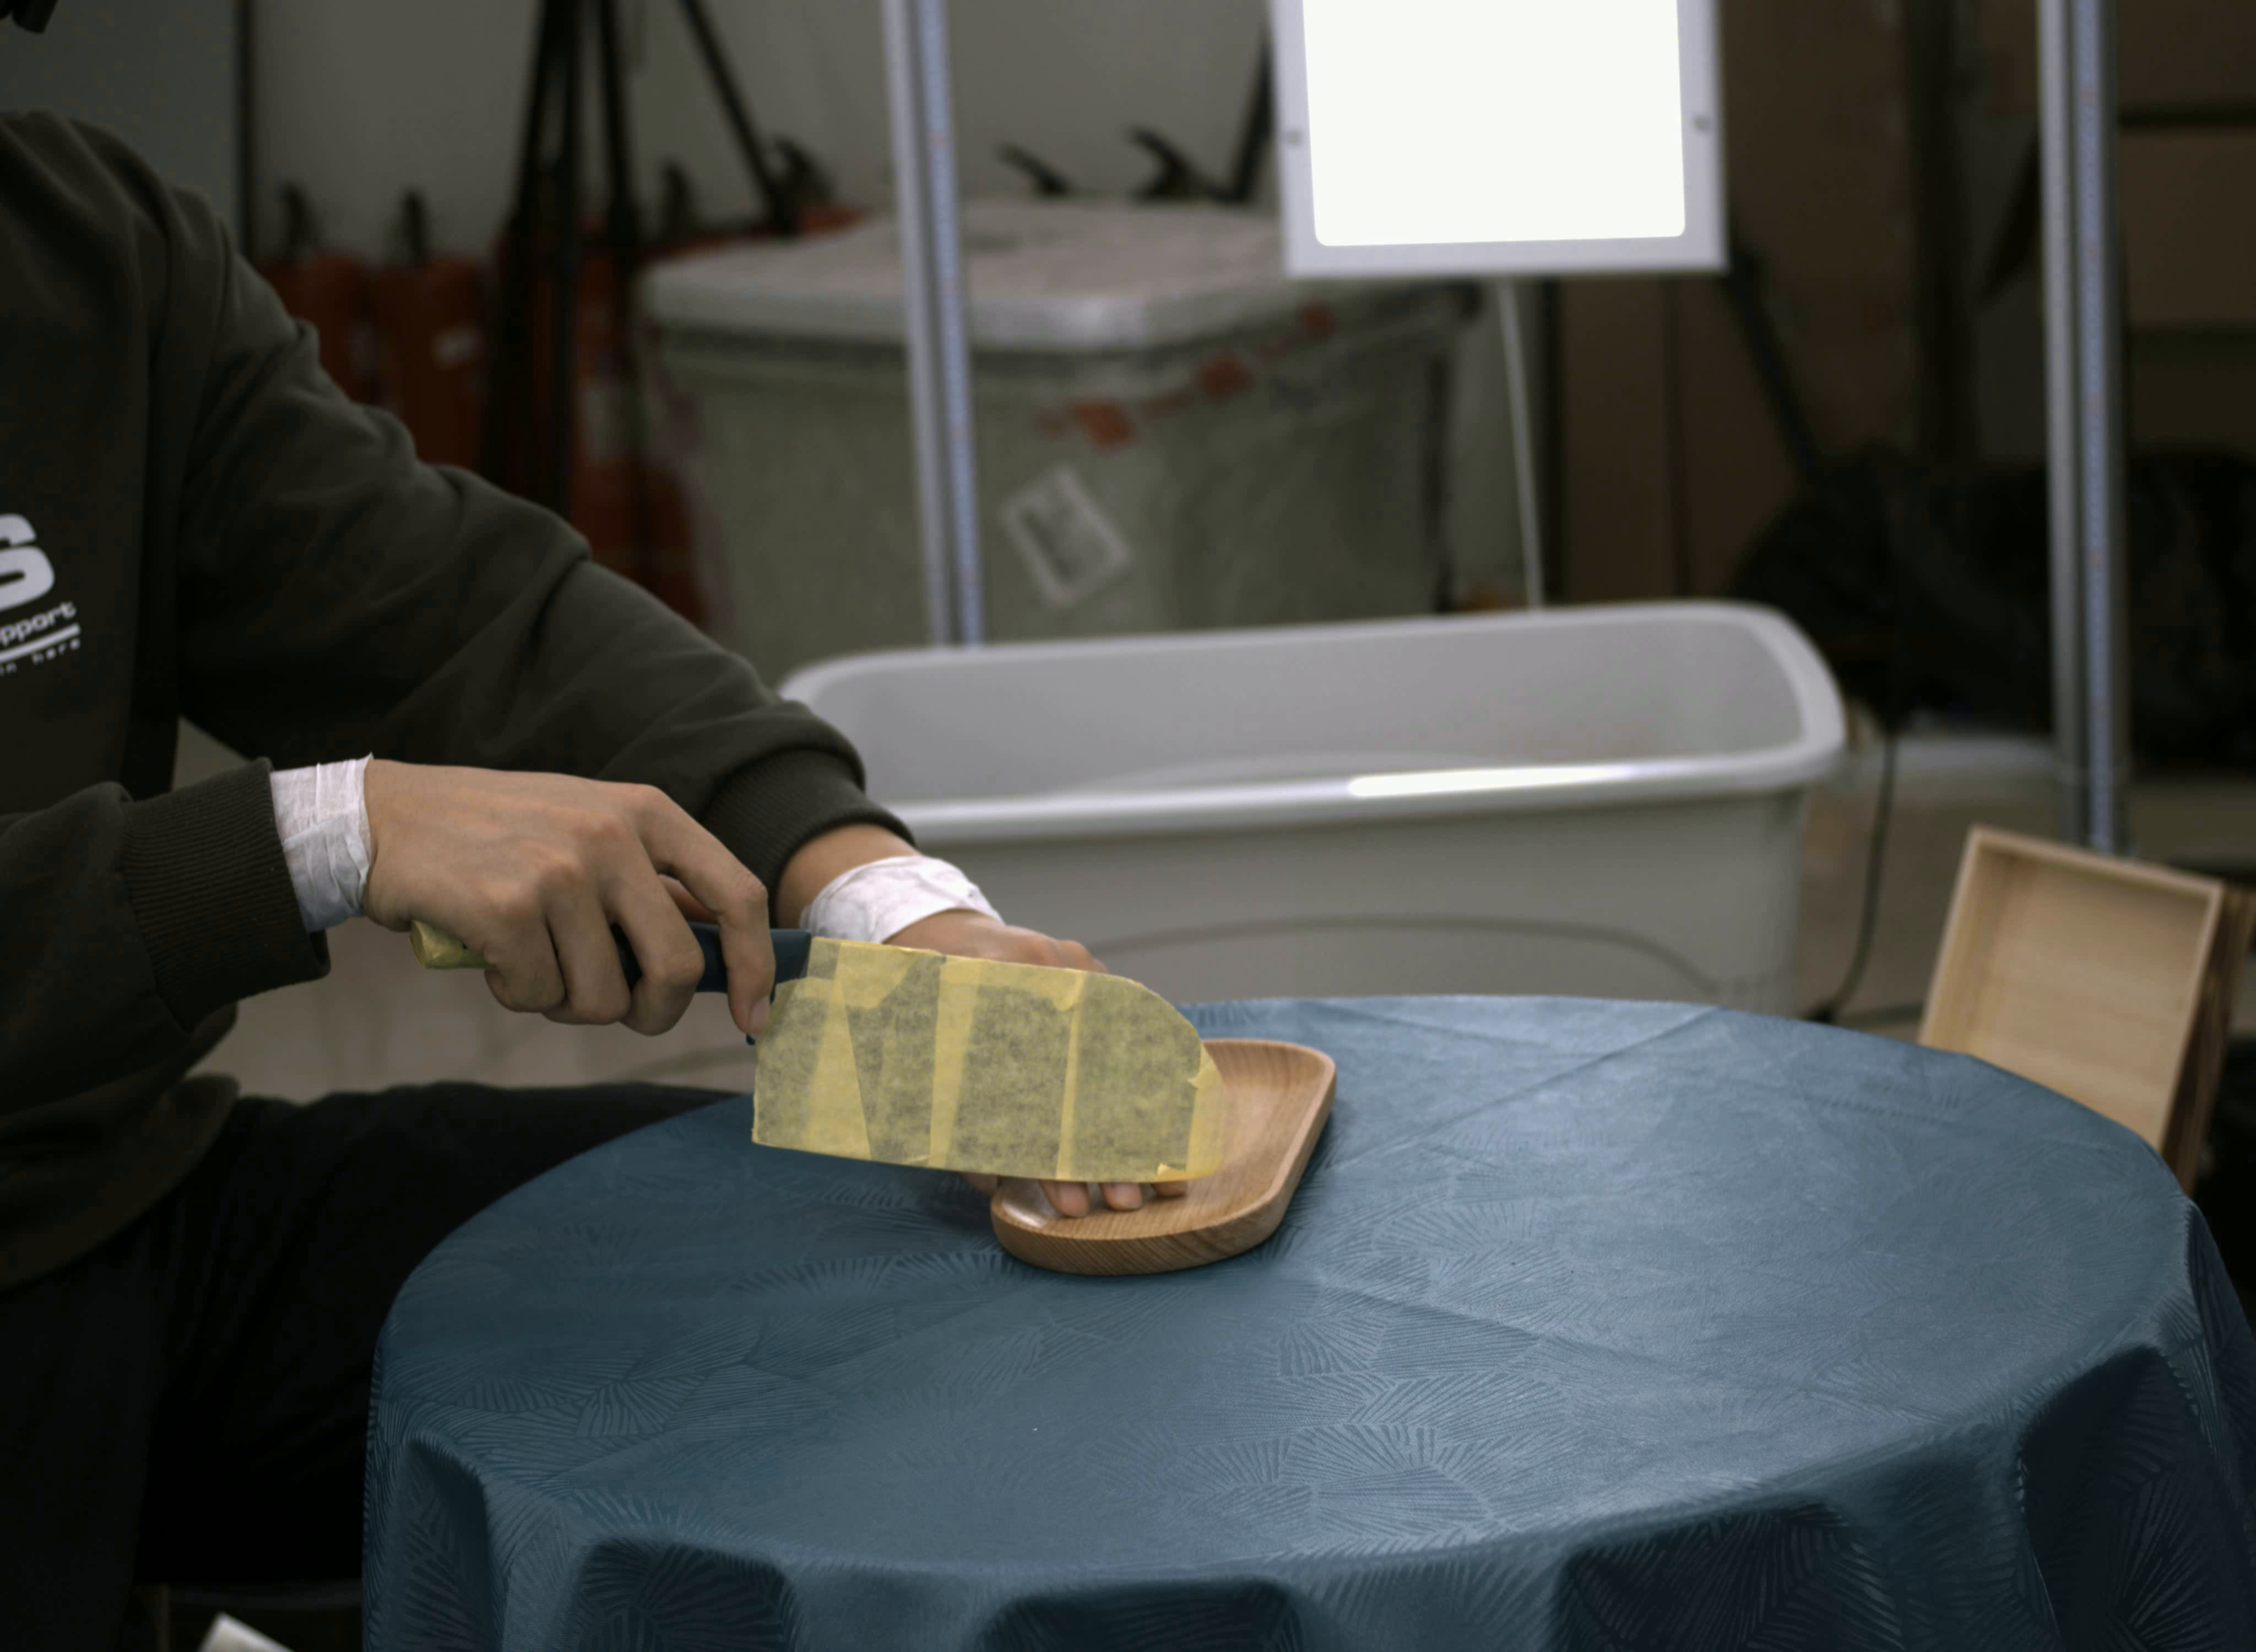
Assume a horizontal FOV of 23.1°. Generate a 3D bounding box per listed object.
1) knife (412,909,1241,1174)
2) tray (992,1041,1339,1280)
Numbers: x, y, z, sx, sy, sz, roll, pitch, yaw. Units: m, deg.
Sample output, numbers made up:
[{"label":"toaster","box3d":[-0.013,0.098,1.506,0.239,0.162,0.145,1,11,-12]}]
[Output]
[{"label":"knife","box3d":[-0.099,0.072,1.845,0.286,0.081,0.027,10,-12,-10]},{"label":"tray","box3d":[0.016,0.114,1.914,0.102,0.020,0.229,-4,15,11]}]
